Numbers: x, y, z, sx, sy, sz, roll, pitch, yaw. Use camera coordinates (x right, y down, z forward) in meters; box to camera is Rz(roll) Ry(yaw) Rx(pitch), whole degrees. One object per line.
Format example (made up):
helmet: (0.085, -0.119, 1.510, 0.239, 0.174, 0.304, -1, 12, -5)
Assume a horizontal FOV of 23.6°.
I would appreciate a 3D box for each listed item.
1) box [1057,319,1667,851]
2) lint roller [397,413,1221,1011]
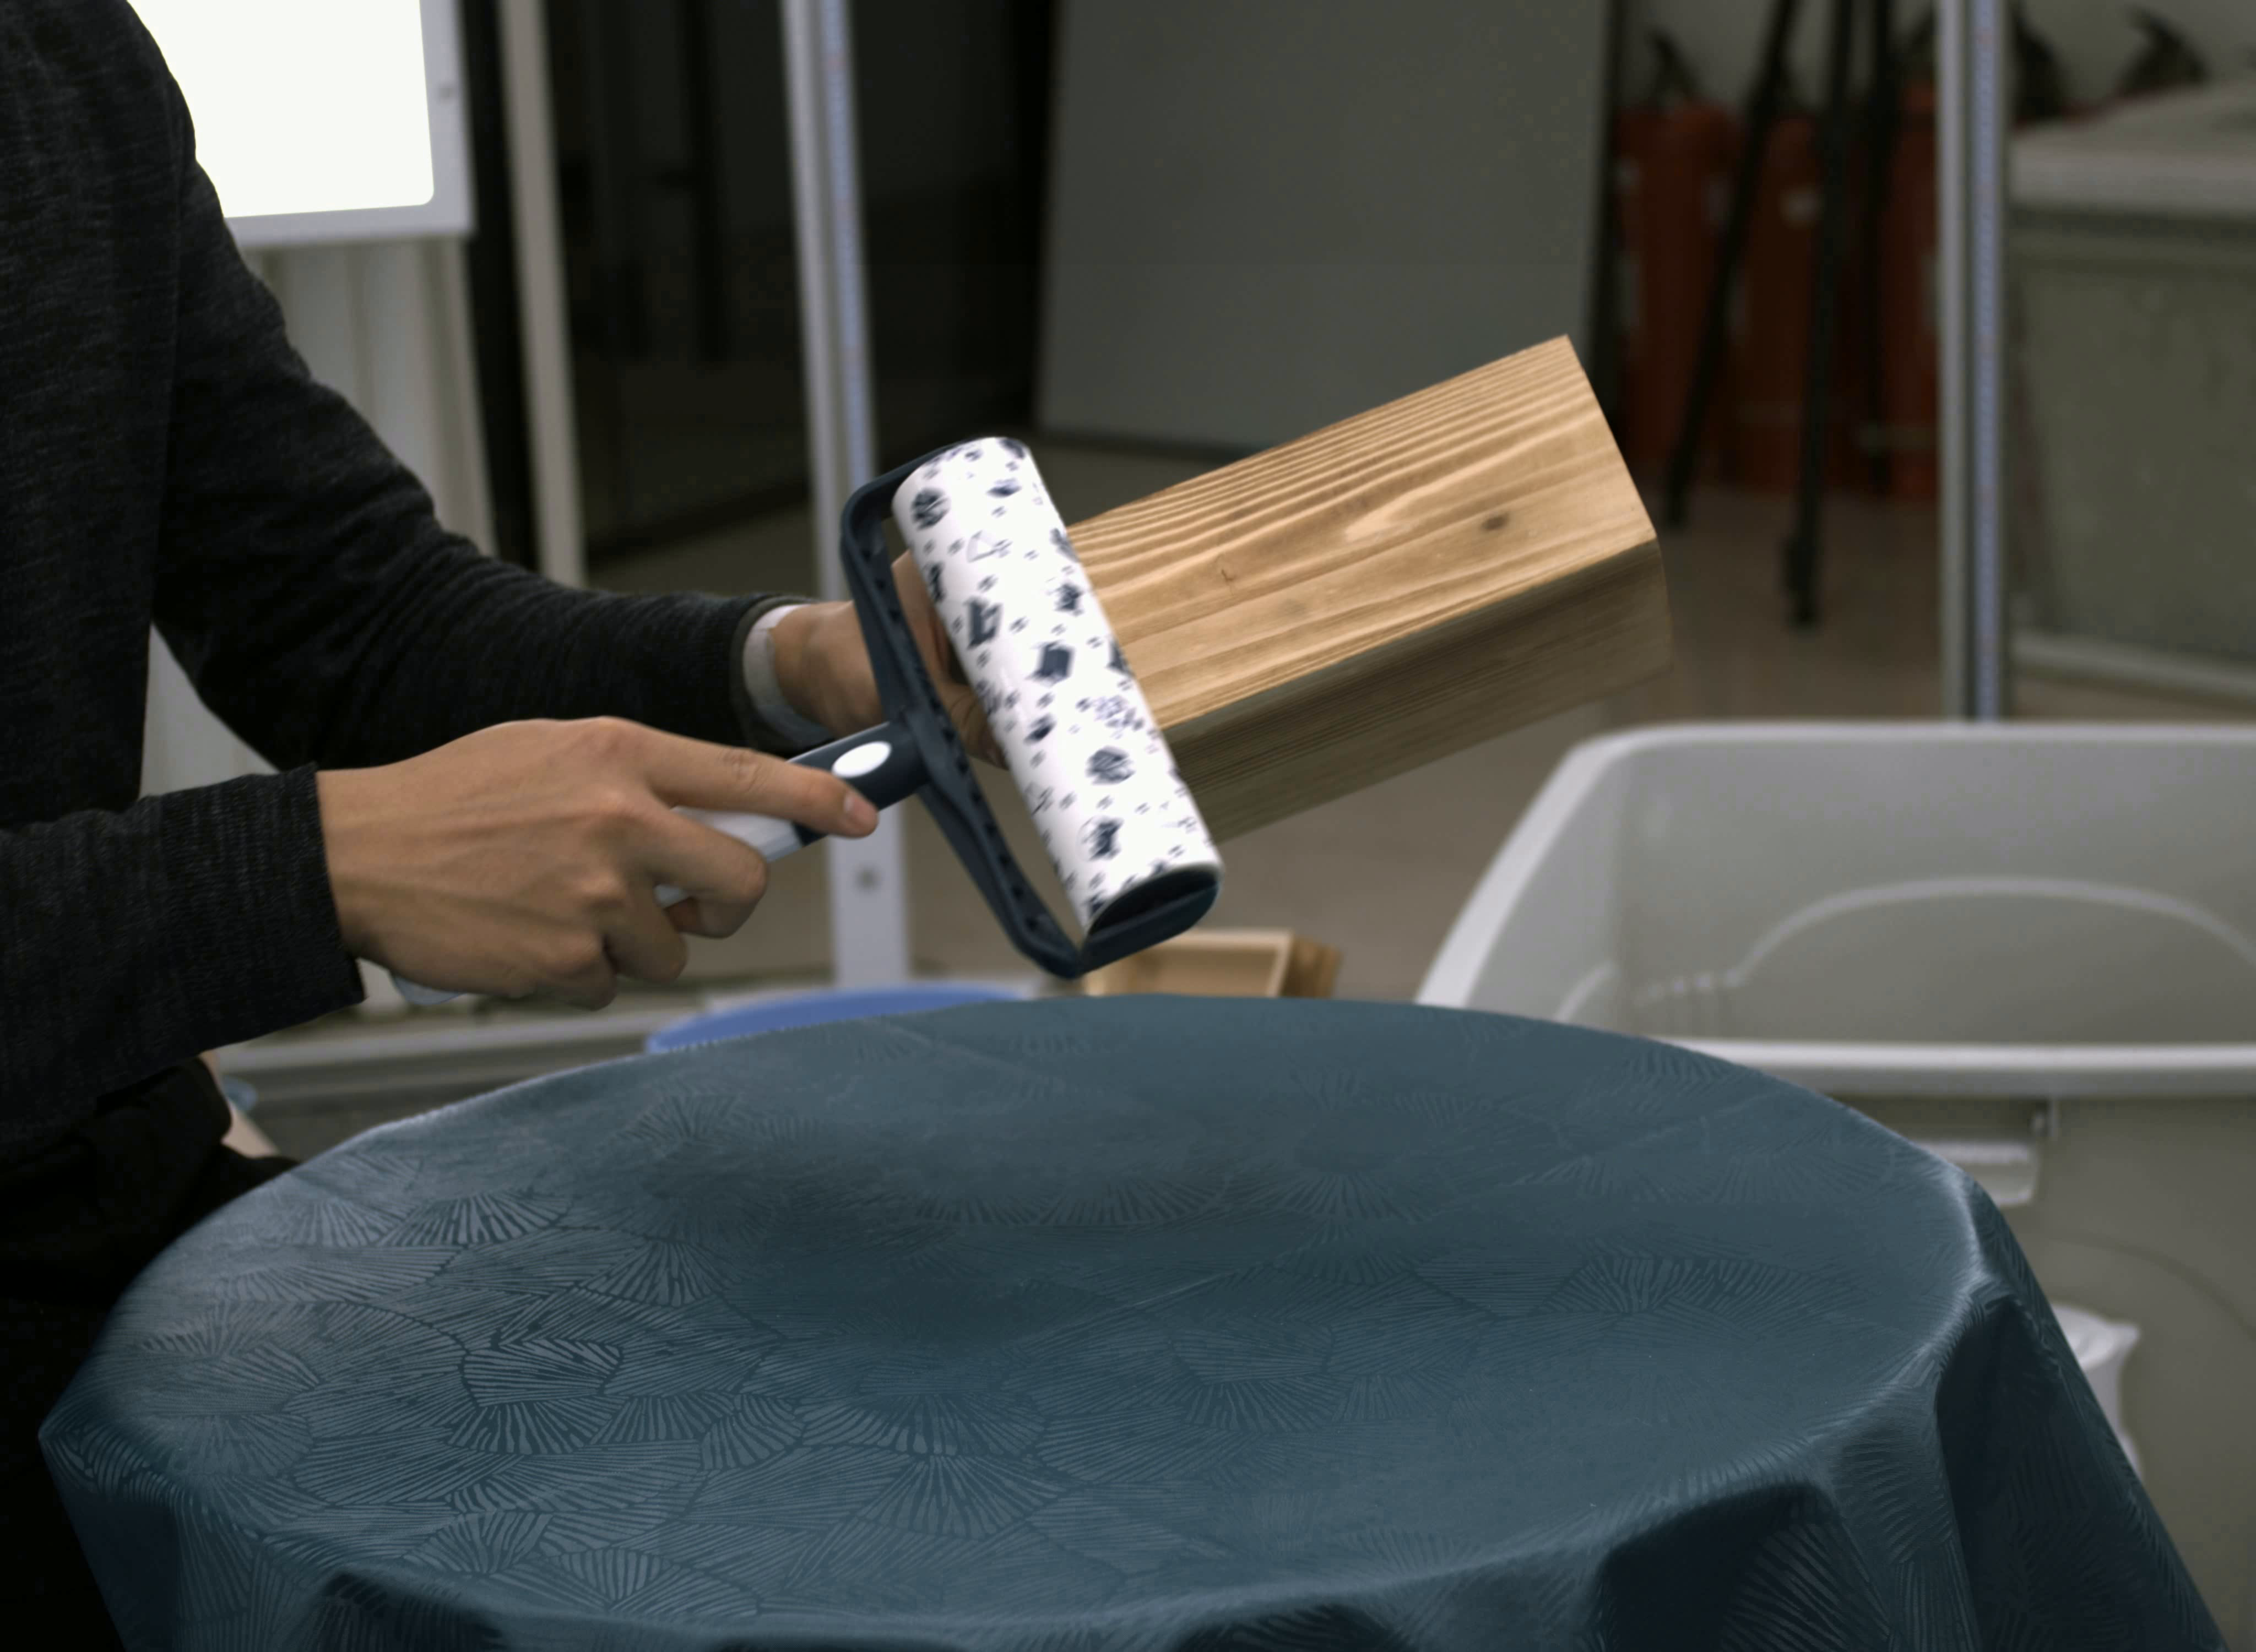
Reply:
box: (0.061, -0.068, 1.739, 0.209, 0.081, 0.107, -21, -25, 0)
lint roller: (-0.112, -0.005, 1.659, 0.244, 0.178, 0.050, -25, -23, -3)
